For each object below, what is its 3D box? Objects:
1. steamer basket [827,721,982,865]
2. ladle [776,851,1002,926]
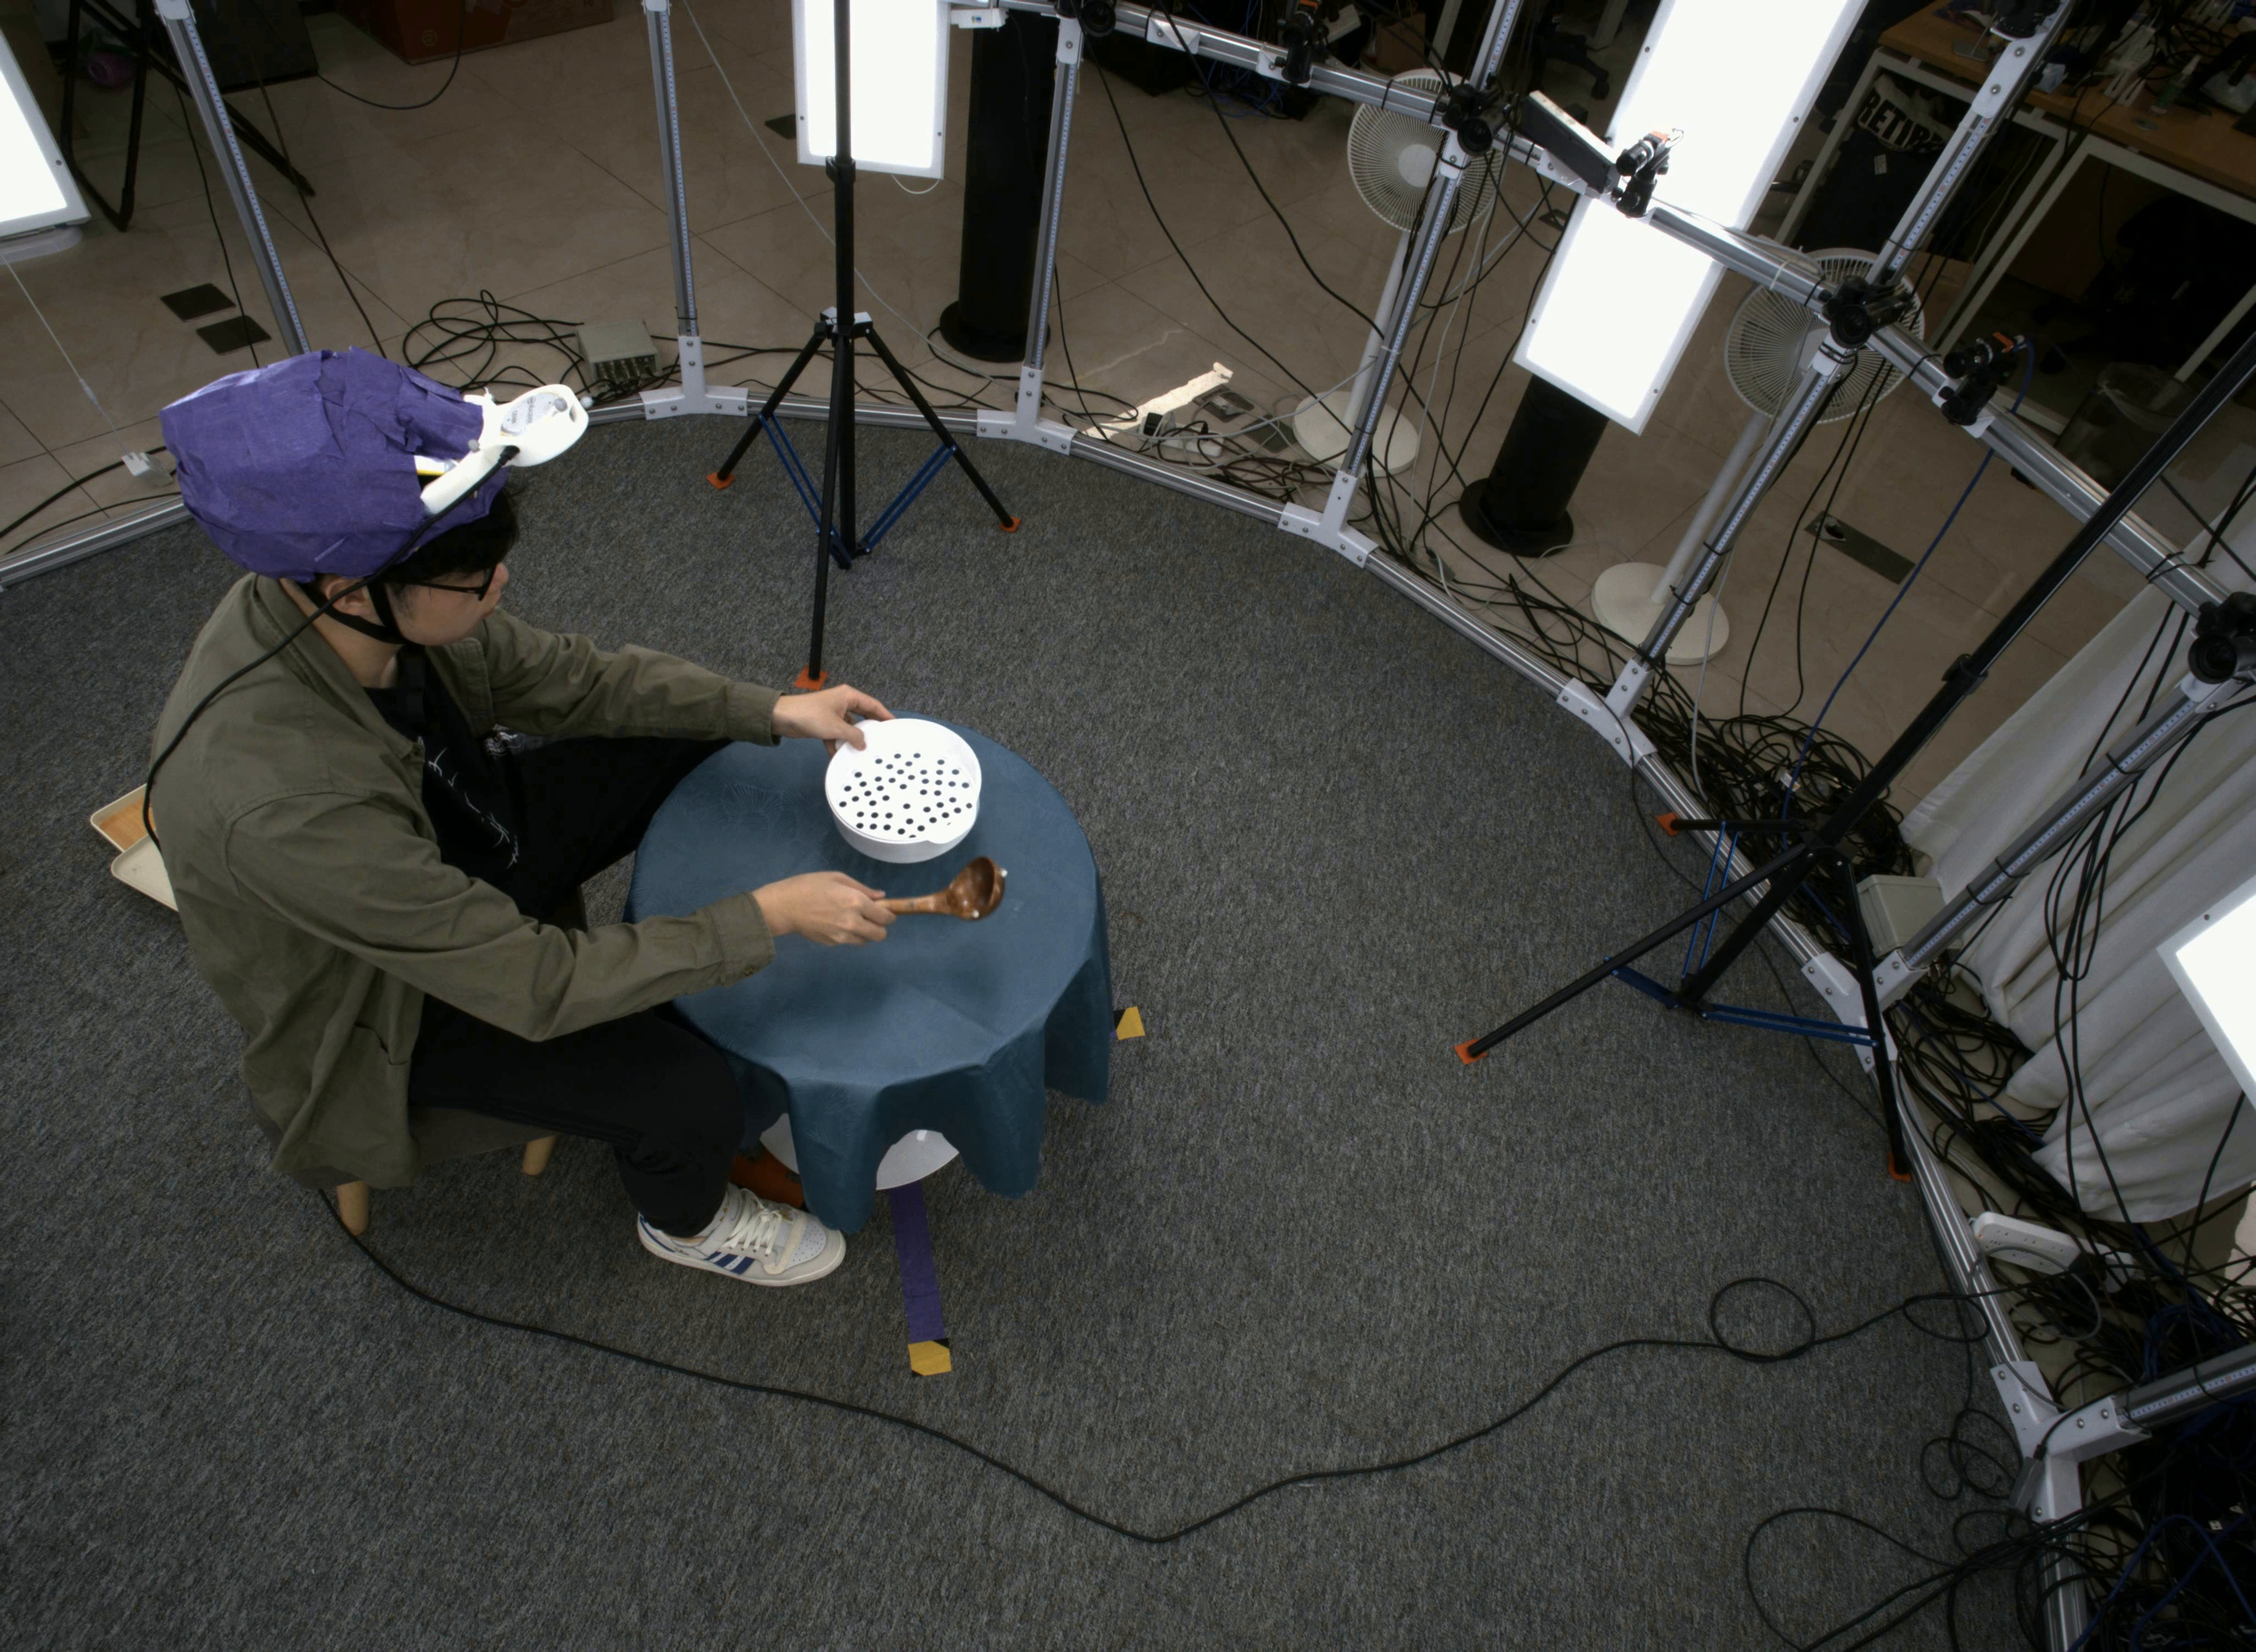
[{"bbox_3d":[-0.291,-0.042,1.711,0.202,0.071,0.225,-37,67,-26],"label":"steamer basket"},{"bbox_3d":[-0.287,0.080,1.560,0.274,0.078,0.080,-4,52,-13],"label":"ladle"}]
